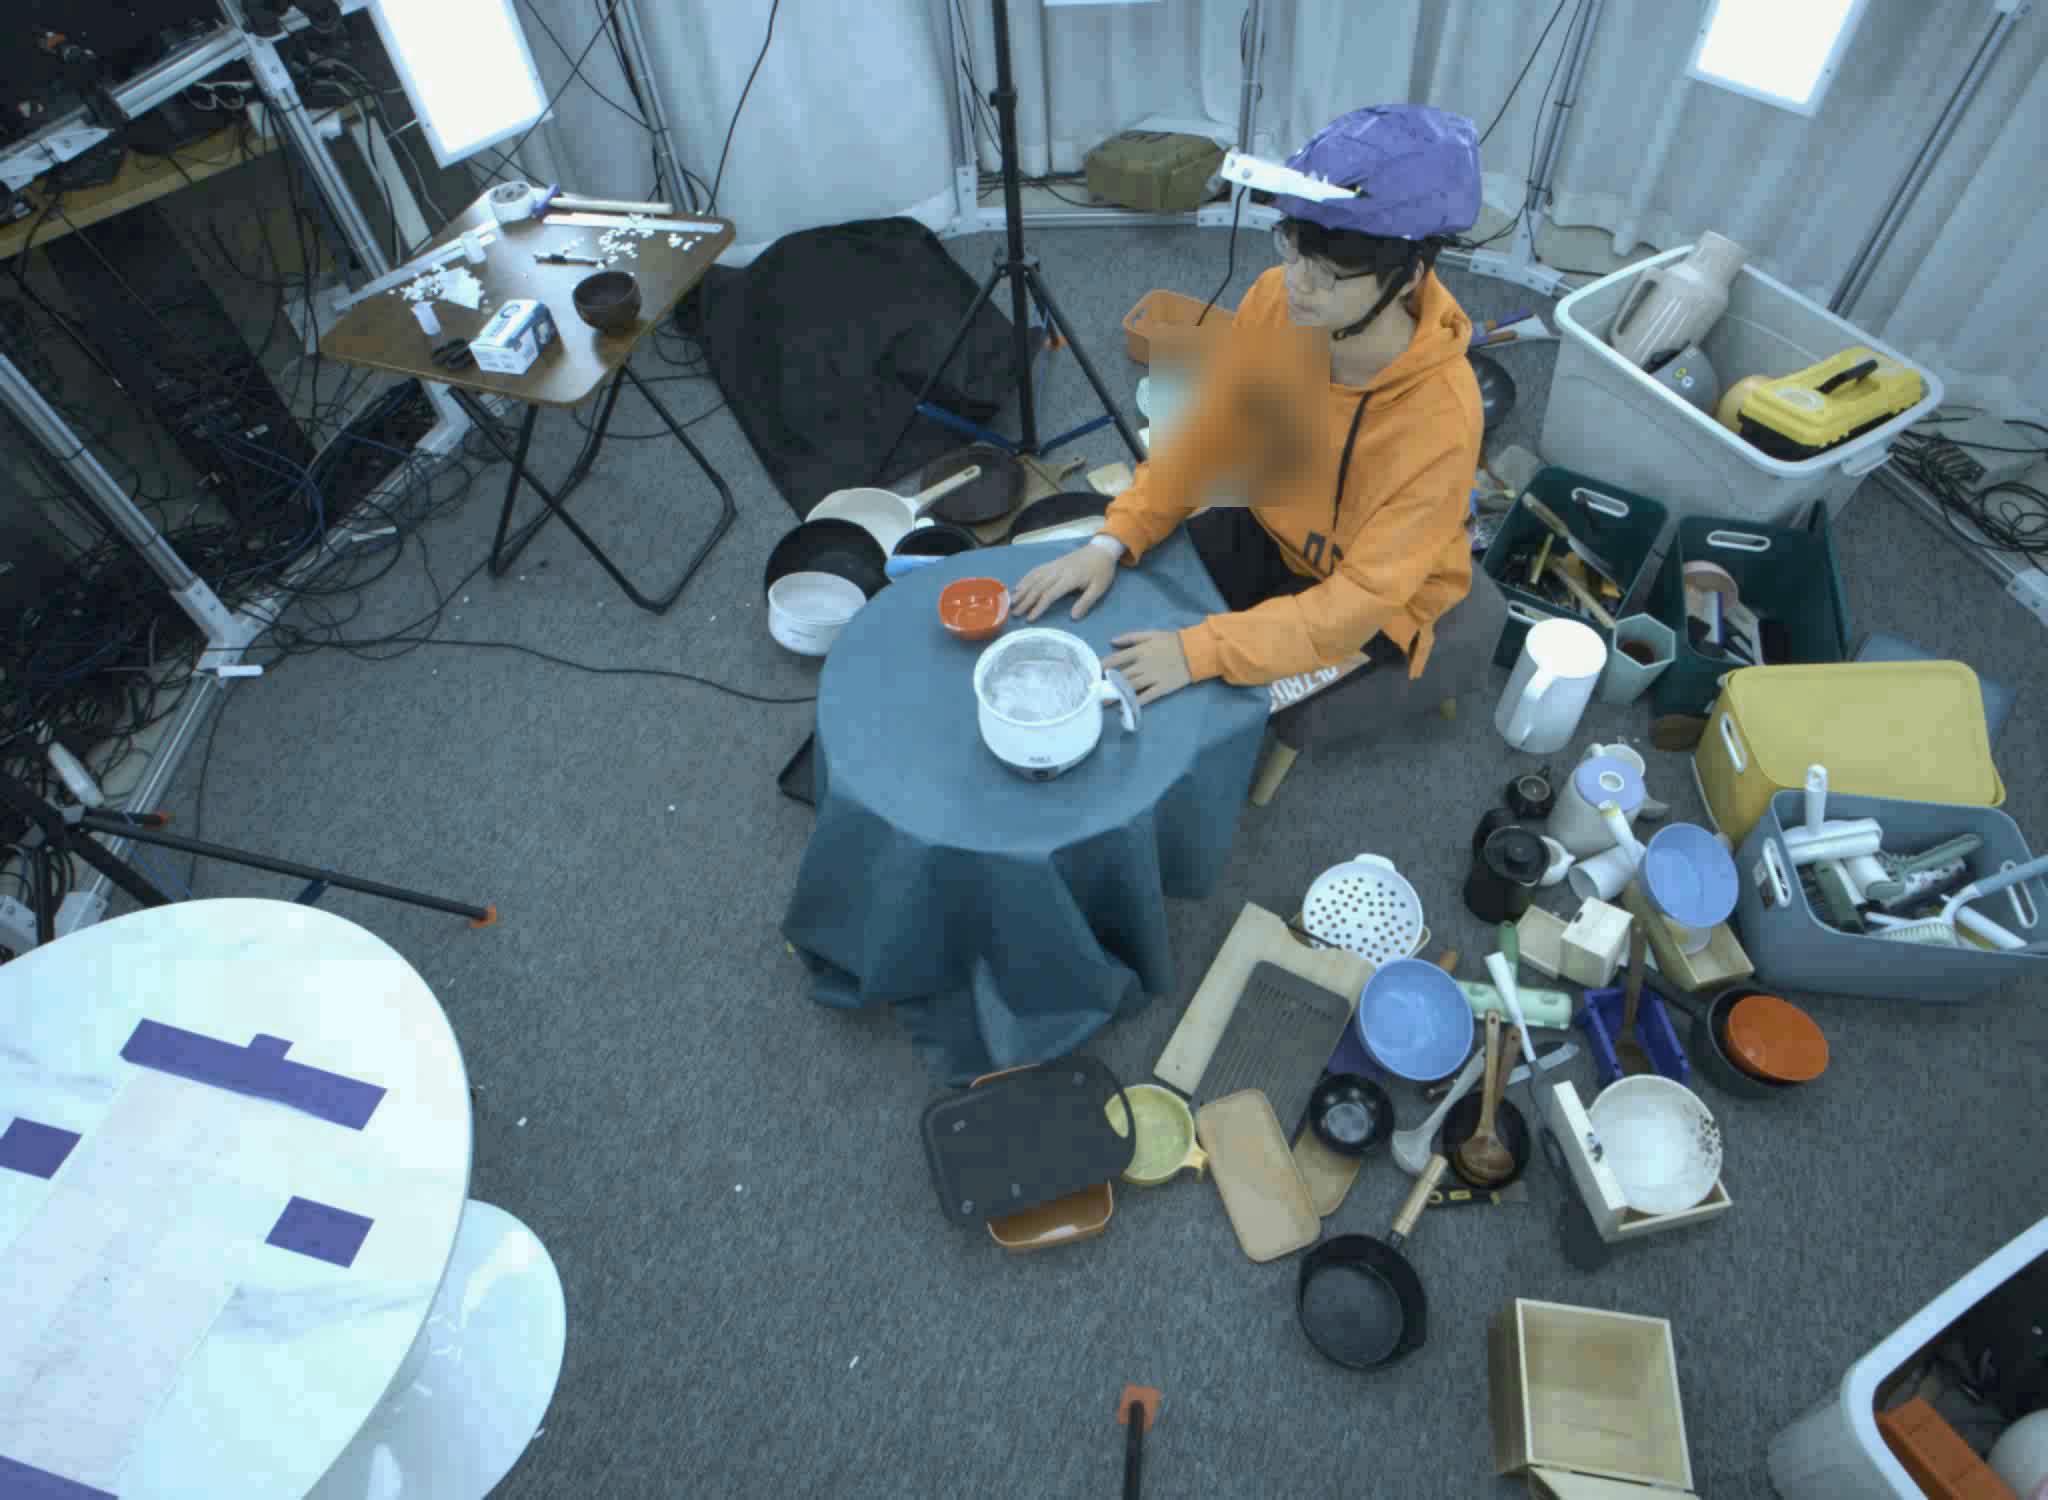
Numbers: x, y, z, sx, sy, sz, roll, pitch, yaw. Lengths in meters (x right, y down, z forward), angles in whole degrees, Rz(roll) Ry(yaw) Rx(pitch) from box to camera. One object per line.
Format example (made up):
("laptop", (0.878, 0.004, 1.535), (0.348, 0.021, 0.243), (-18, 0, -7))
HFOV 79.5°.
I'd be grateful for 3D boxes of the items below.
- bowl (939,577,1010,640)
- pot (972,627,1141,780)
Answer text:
("bowl", (-0.076, -0.213, 1.909), (0.119, 0.052, 0.117), (-1, 54, 3))
("pot", (0.049, -0.067, 1.748), (0.233, 0.138, 0.177), (-3, 55, 1))
